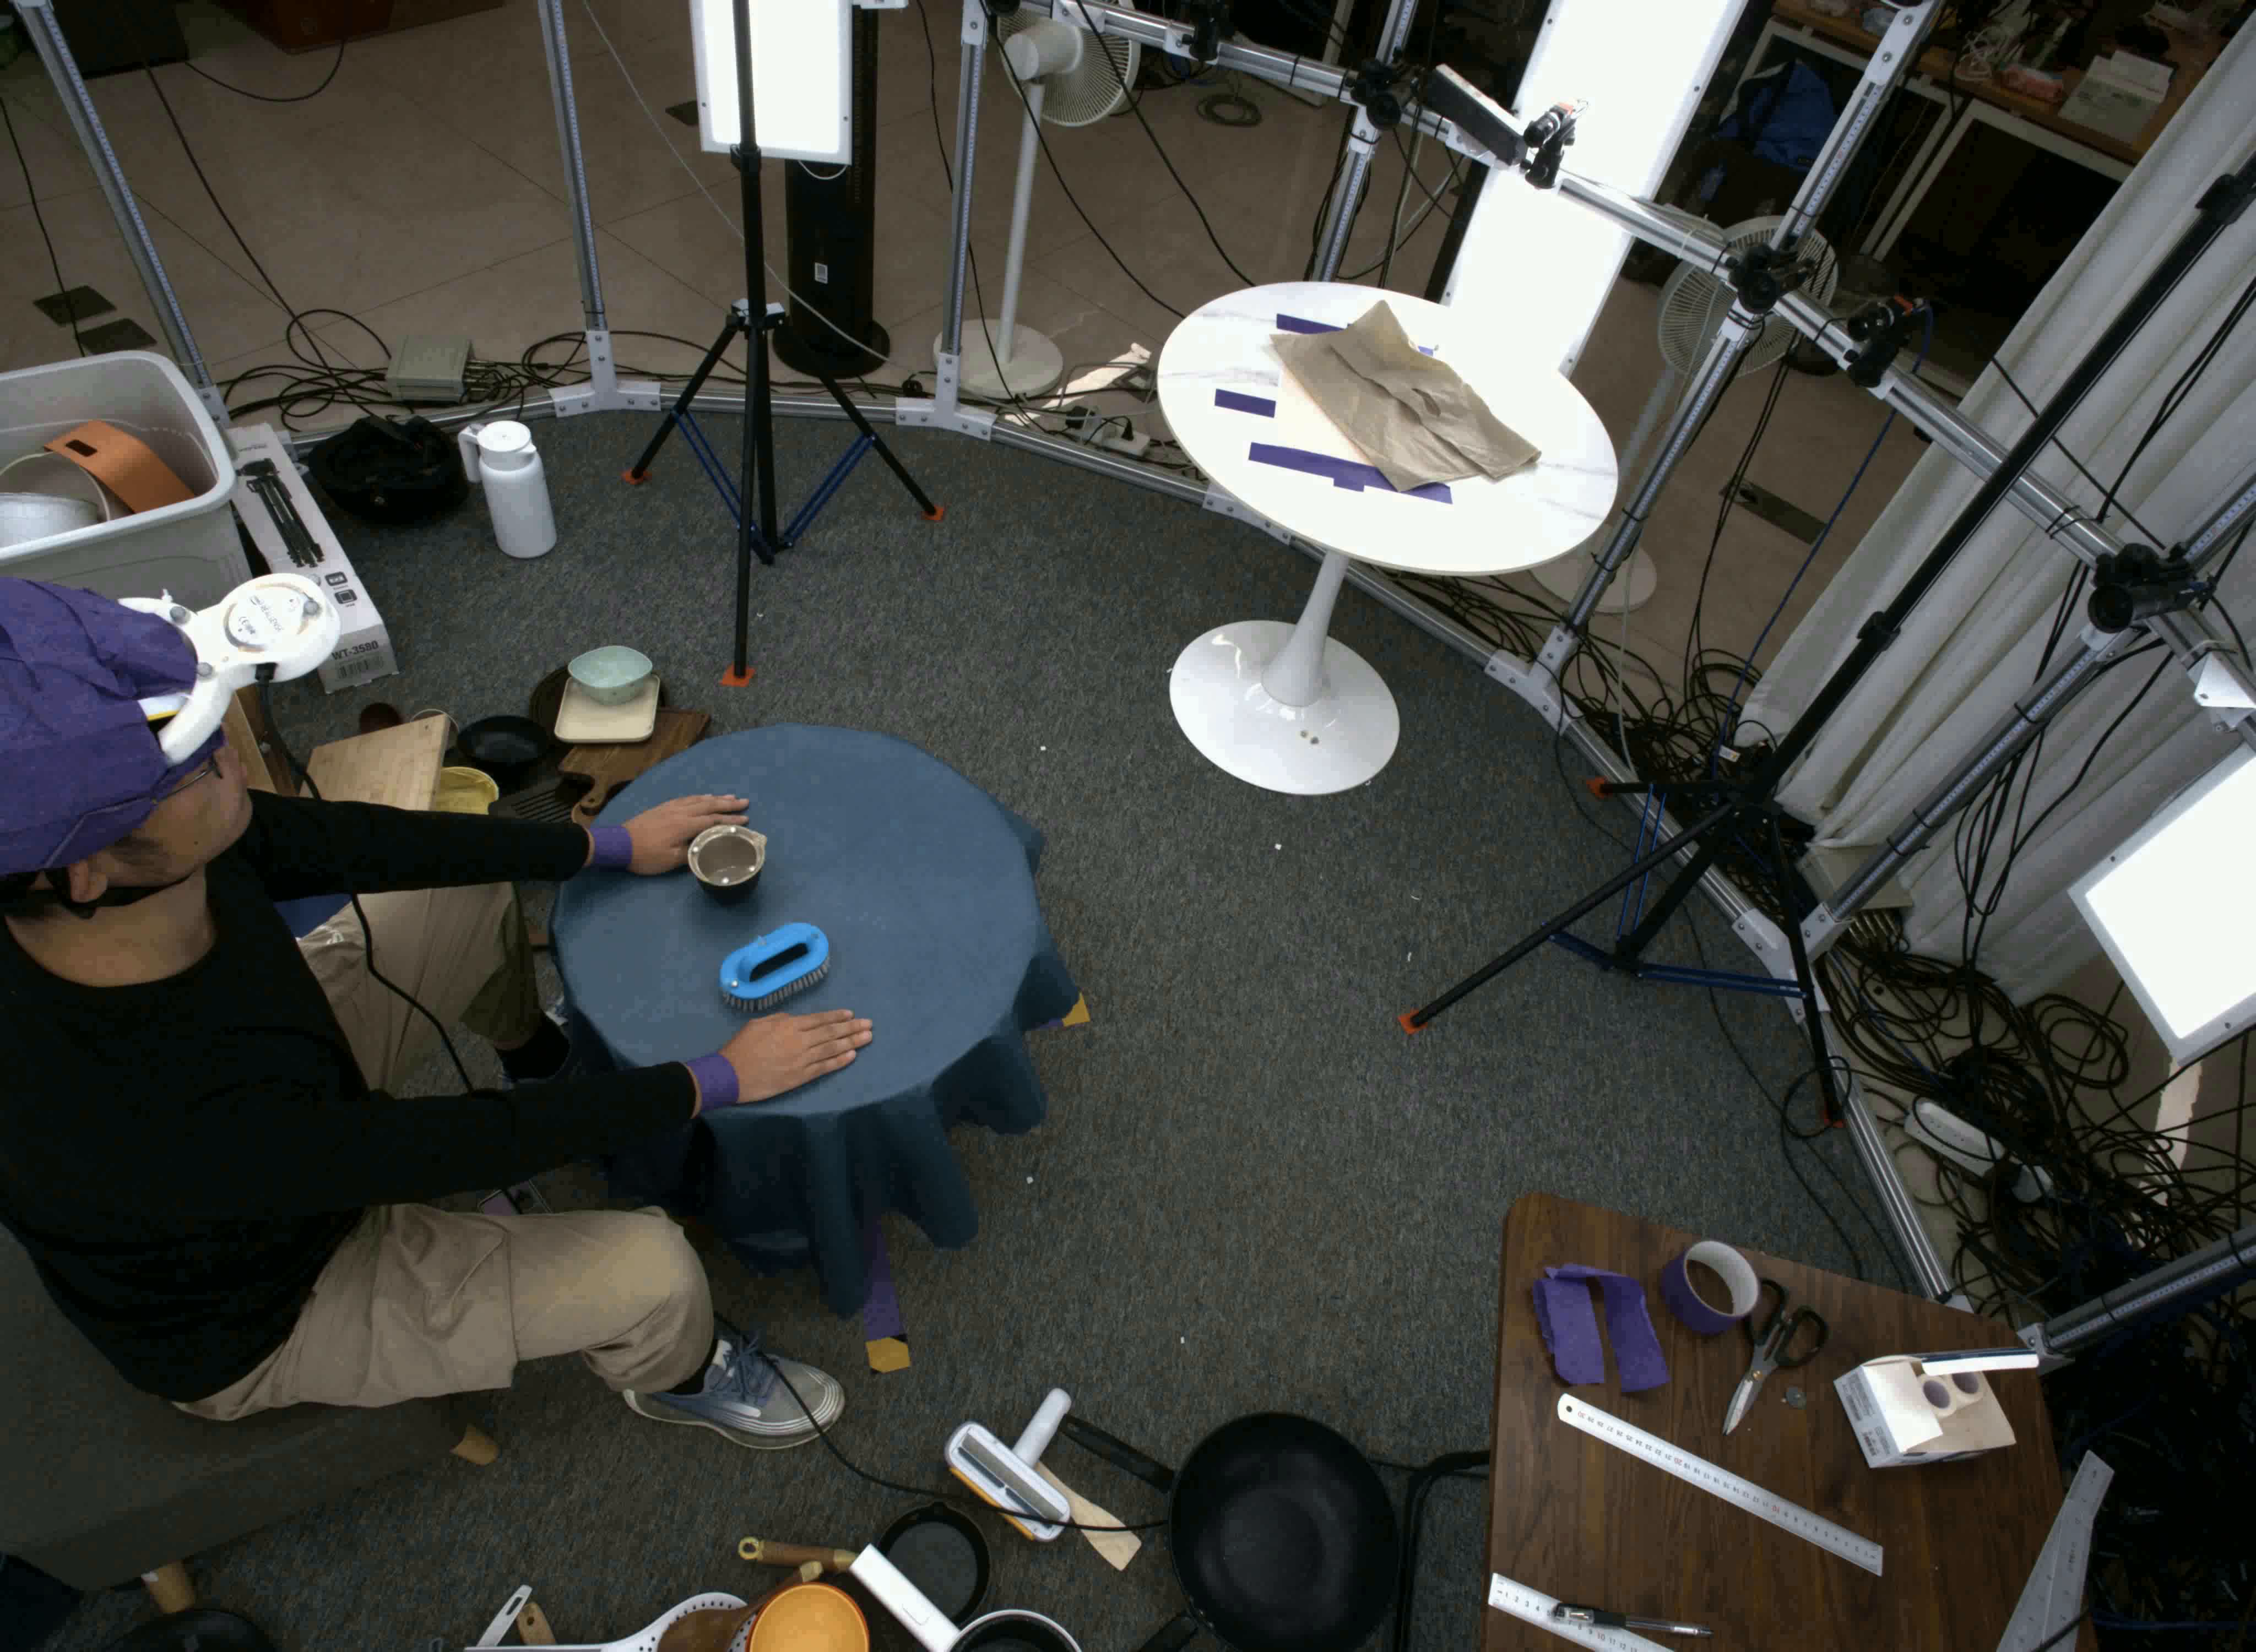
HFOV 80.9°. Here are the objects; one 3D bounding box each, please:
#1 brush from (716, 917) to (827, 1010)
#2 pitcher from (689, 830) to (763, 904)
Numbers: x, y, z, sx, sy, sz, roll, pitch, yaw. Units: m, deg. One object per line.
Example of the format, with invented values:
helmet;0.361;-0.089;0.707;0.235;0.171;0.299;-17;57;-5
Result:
brush;-0.429;0.158;1.567;0.142;0.065;0.083;-28;68;-29
pitcher;-0.502;0.052;1.621;0.096;0.073;0.081;-23;60;-29
